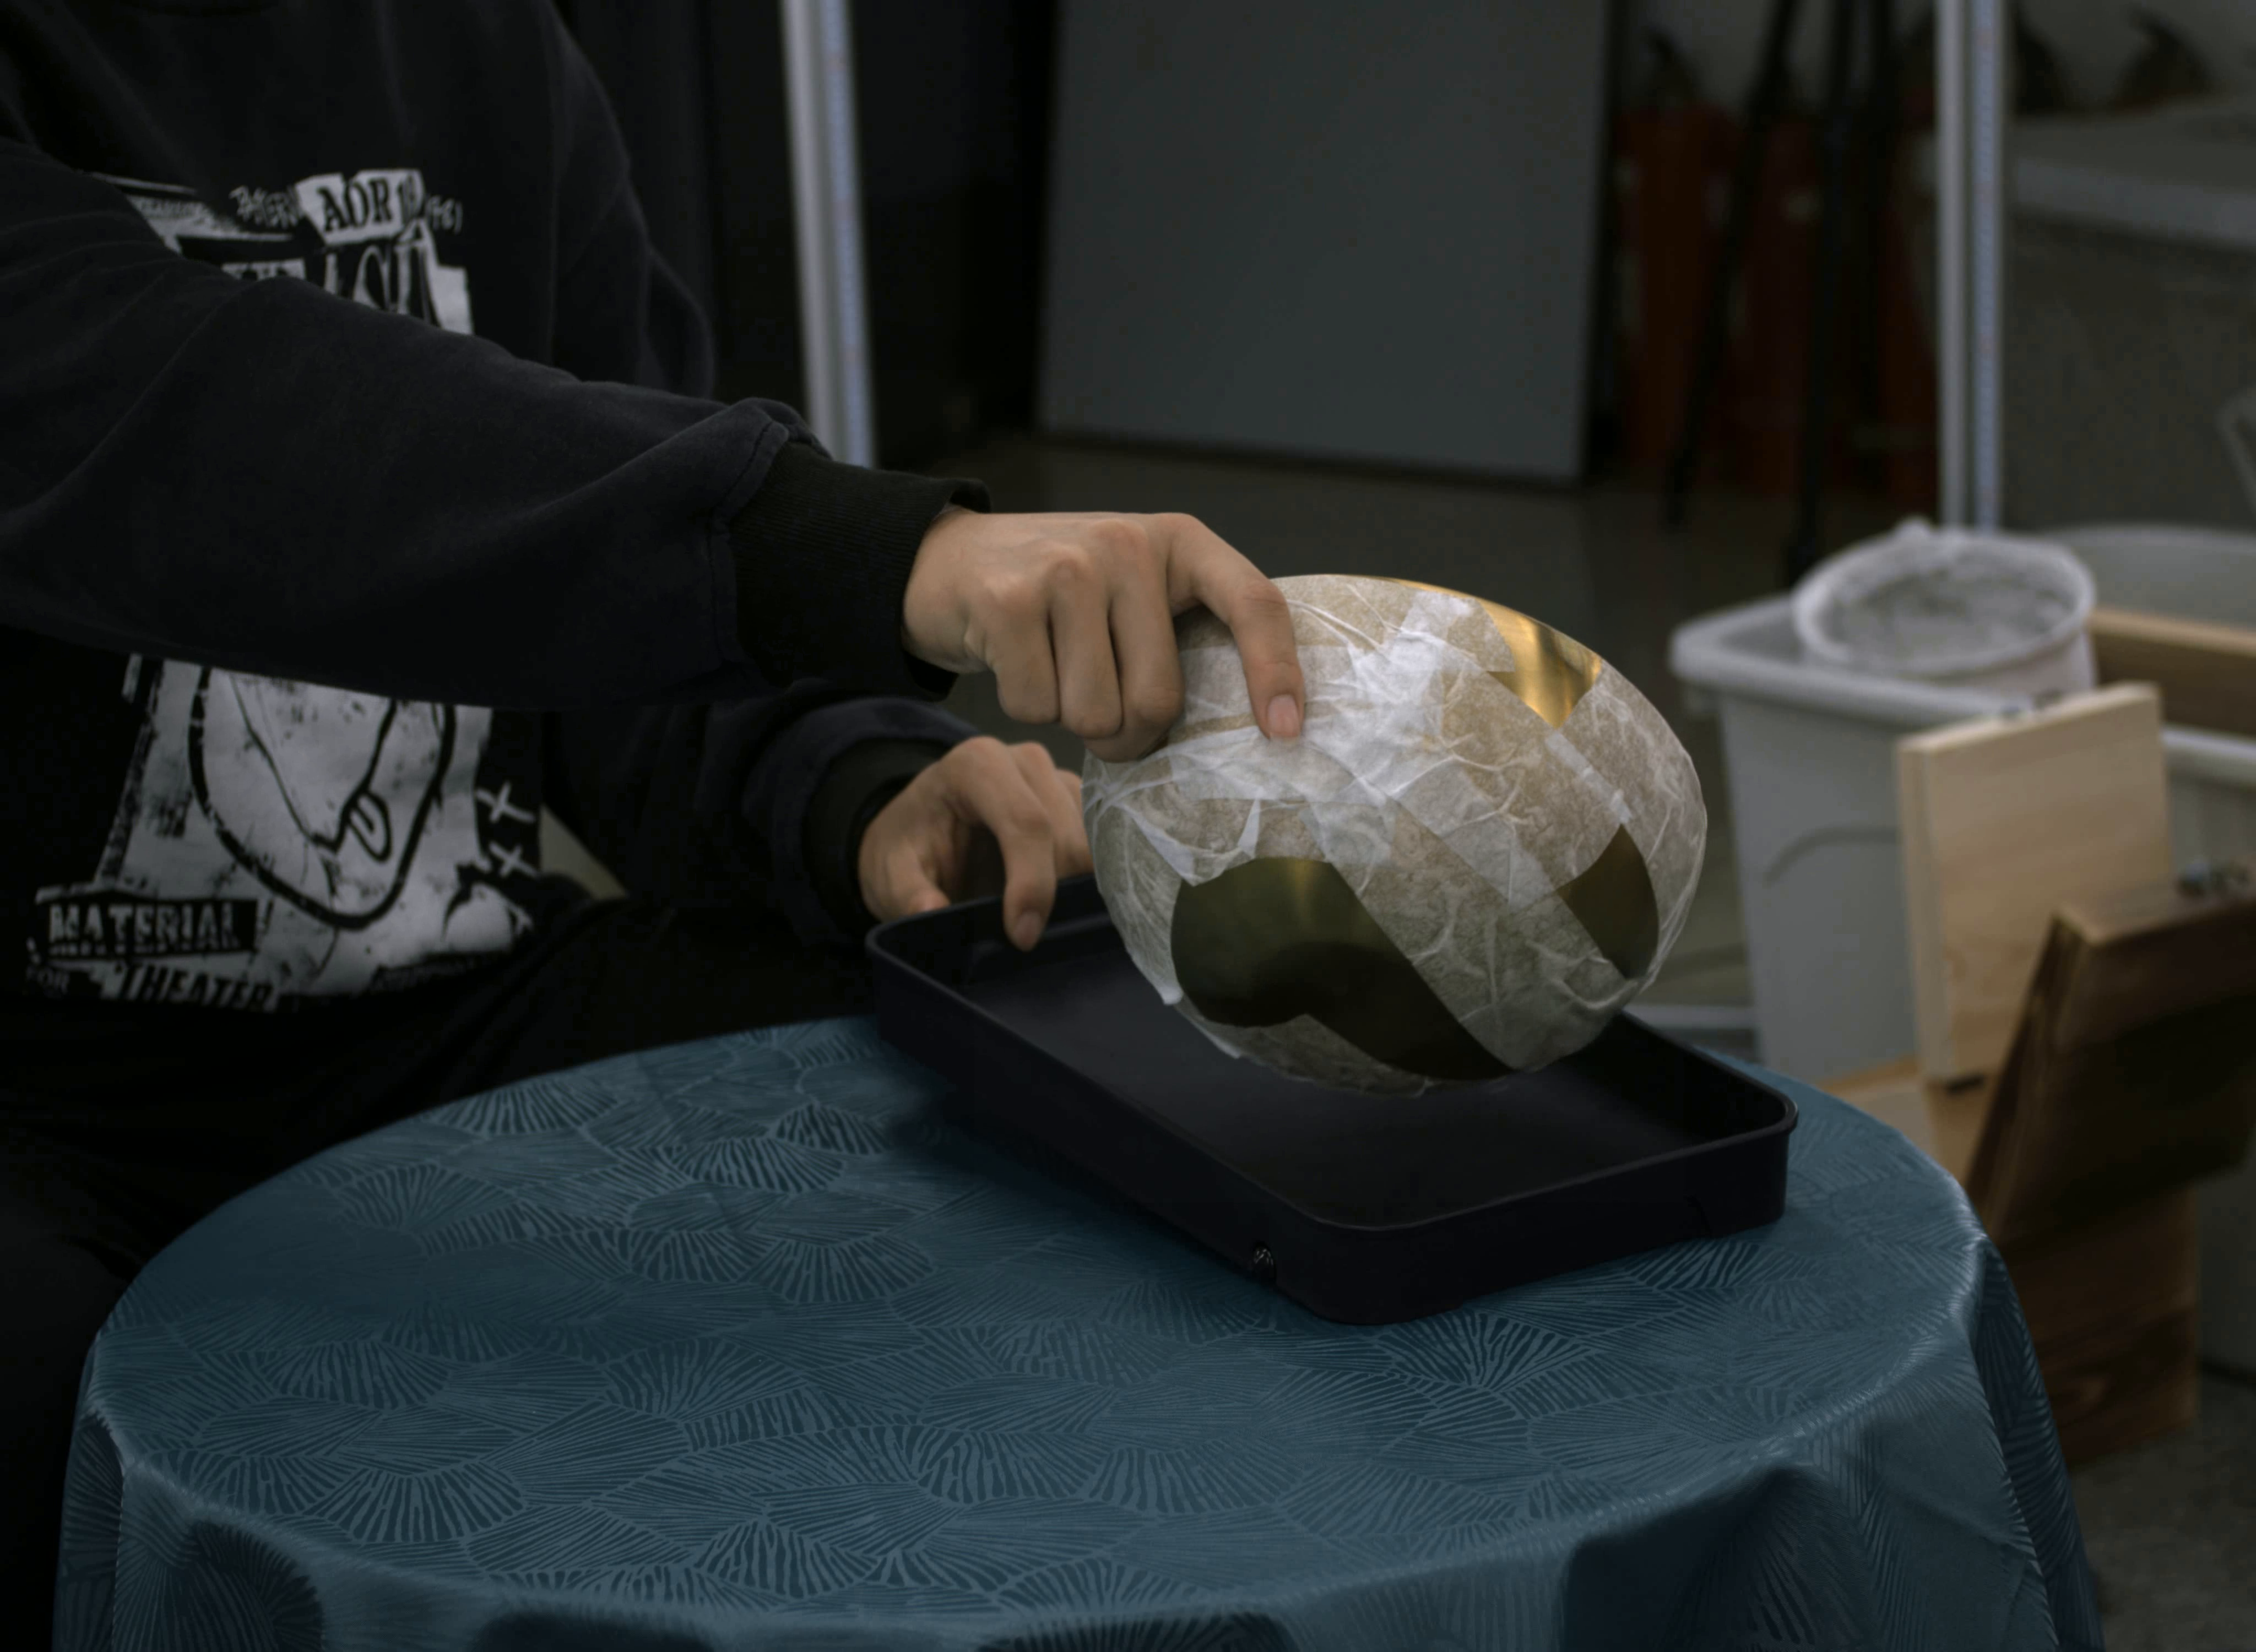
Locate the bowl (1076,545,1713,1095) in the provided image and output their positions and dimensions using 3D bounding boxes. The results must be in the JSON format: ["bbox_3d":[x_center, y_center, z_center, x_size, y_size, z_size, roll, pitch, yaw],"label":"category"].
[{"bbox_3d":[0.074,0.019,1.699,0.214,0.214,0.095,2,48,20],"label":"bowl"}]

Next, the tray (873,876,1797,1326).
[{"bbox_3d":[0.062,0.078,1.781,0.180,0.037,0.321,-14,22,-27],"label":"tray"}]
